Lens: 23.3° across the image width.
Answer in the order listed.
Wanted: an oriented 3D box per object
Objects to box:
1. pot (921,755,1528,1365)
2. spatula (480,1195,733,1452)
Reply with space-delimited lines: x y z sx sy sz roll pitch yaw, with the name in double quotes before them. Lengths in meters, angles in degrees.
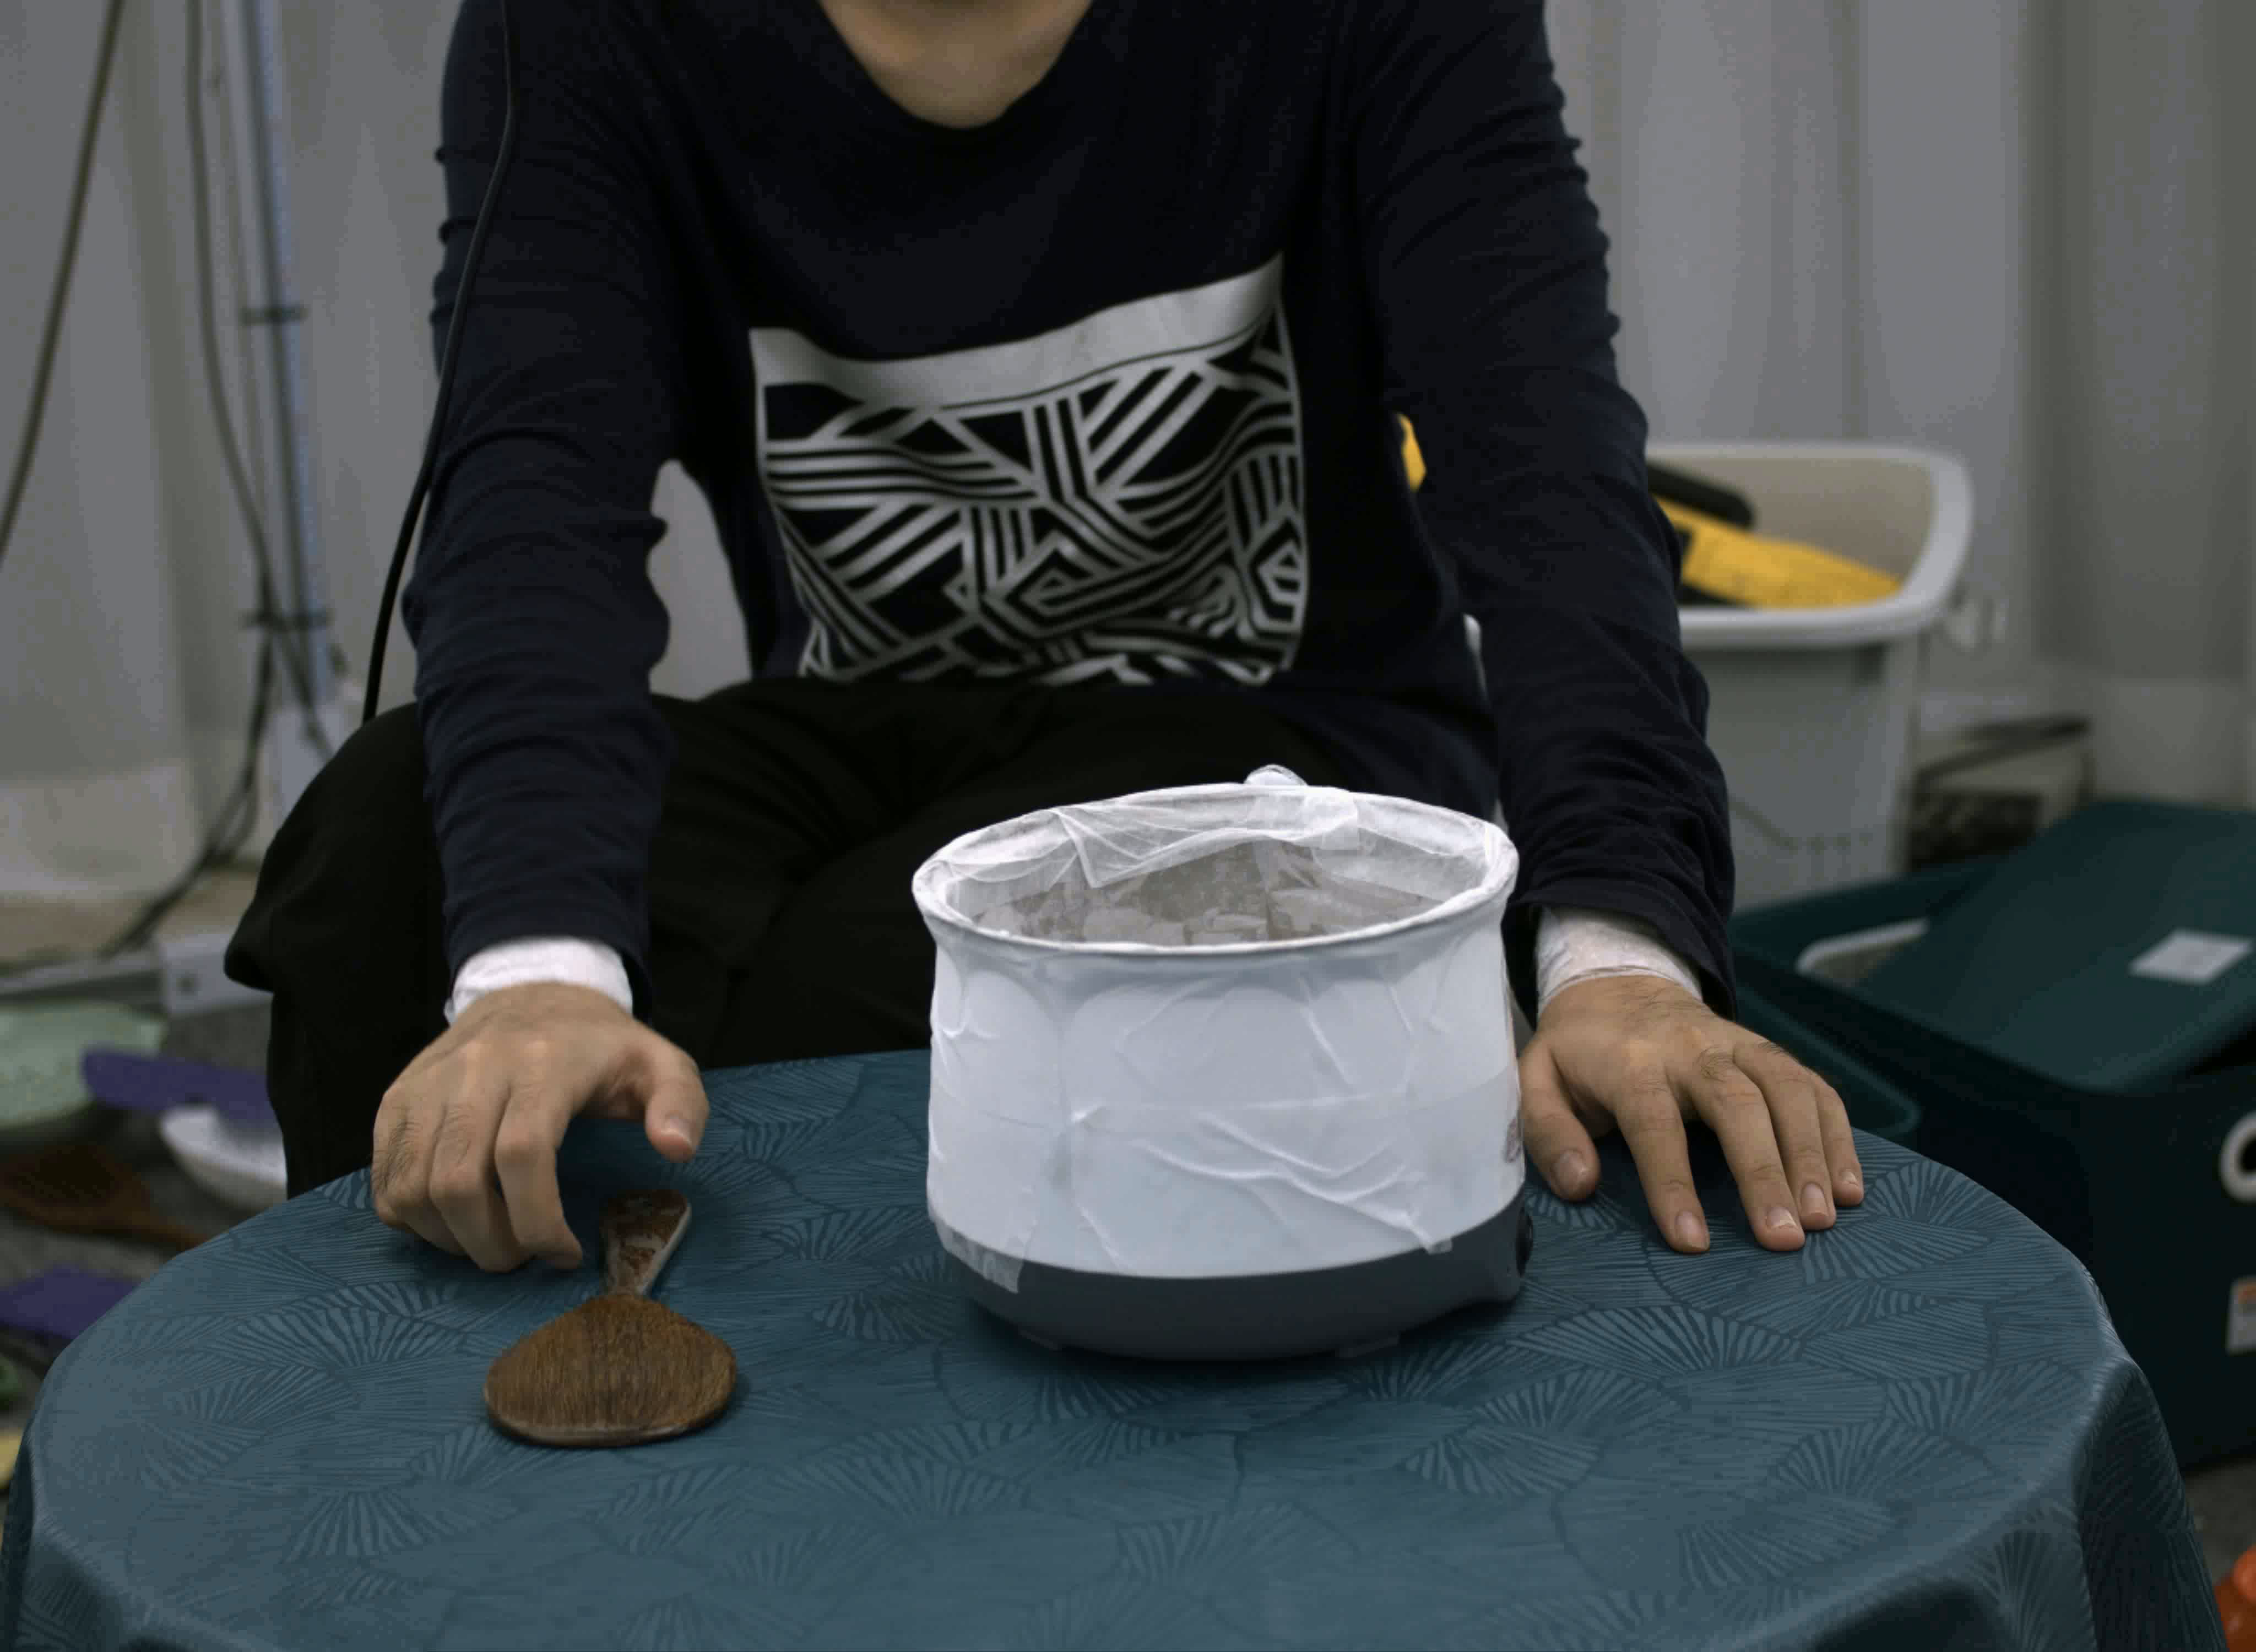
"pot" 0.033 0.064 1.633 0.178 0.136 0.235 2 16 9
"spatula" -0.148 0.144 1.623 0.071 0.009 0.217 -1 14 0
